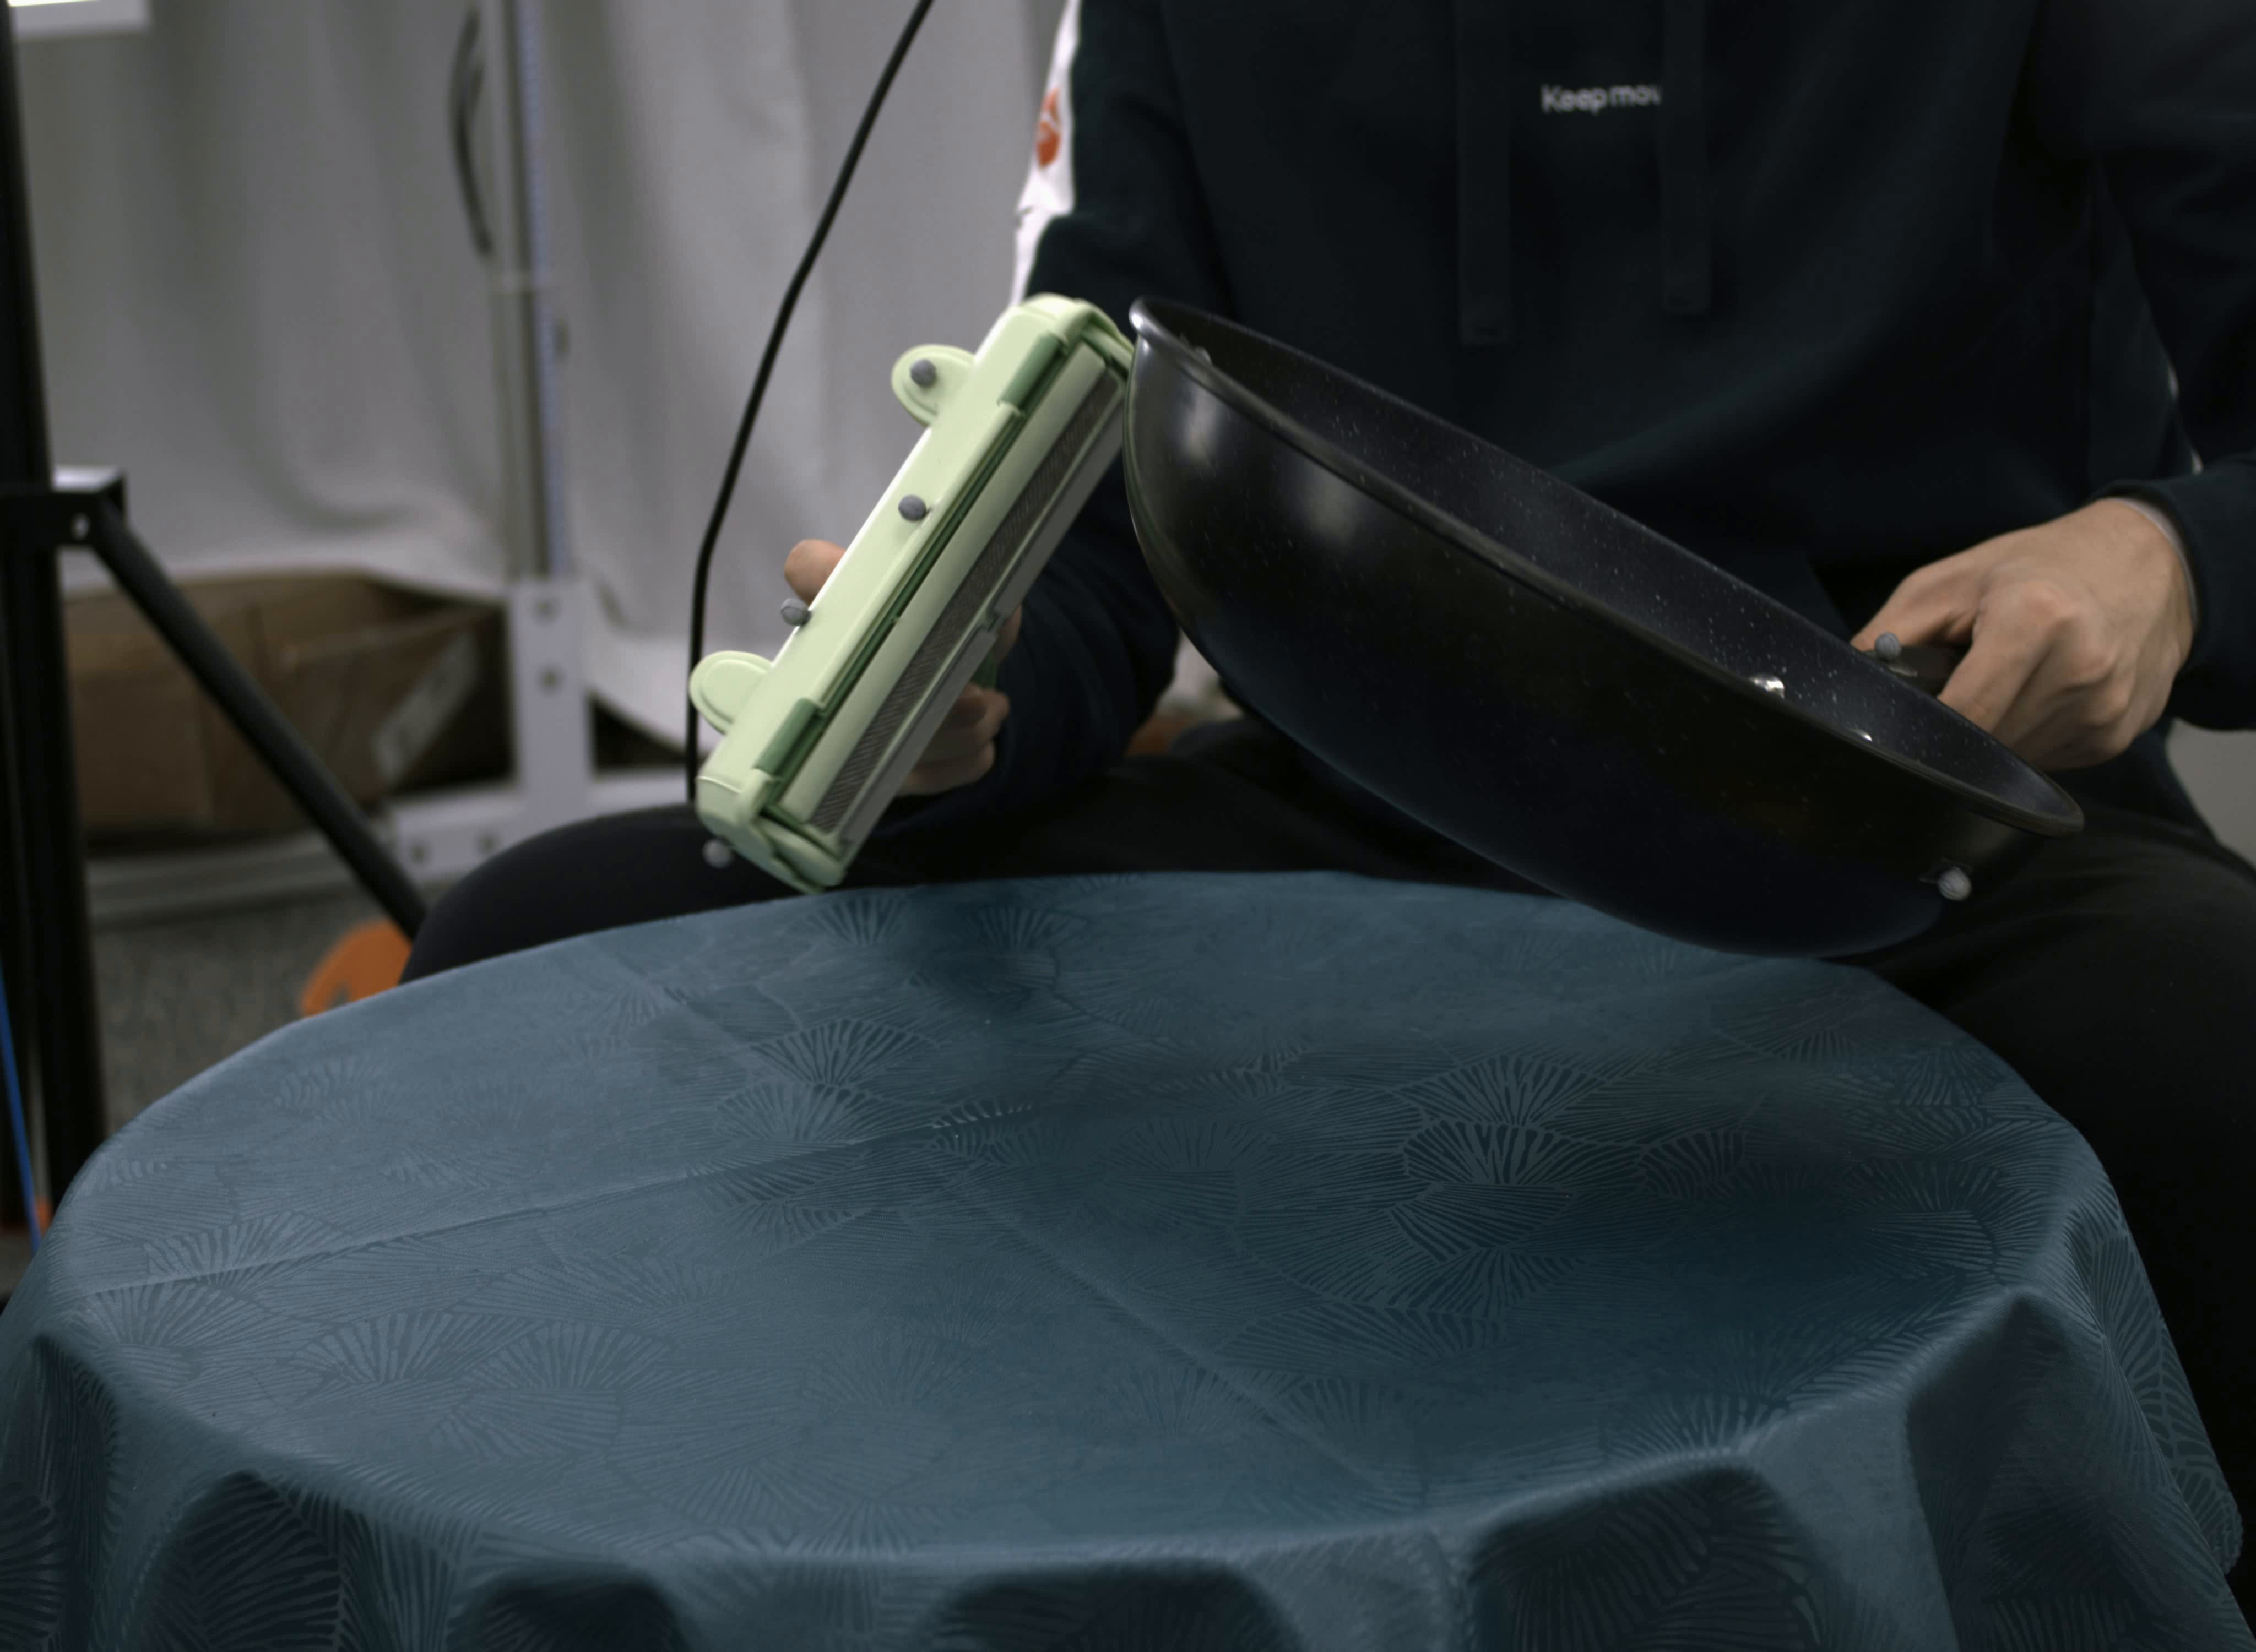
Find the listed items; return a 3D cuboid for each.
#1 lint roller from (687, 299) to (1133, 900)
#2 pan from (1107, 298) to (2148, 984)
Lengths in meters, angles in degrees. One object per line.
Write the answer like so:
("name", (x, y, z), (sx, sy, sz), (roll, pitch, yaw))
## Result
("lint roller", (-0.075, -0.067, 1.694), (0.082, 0.198, 0.184), (34, -10, -2))
("pan", (0.168, -0.035, 1.576), (0.317, 0.112, 0.464), (37, 13, 36))
